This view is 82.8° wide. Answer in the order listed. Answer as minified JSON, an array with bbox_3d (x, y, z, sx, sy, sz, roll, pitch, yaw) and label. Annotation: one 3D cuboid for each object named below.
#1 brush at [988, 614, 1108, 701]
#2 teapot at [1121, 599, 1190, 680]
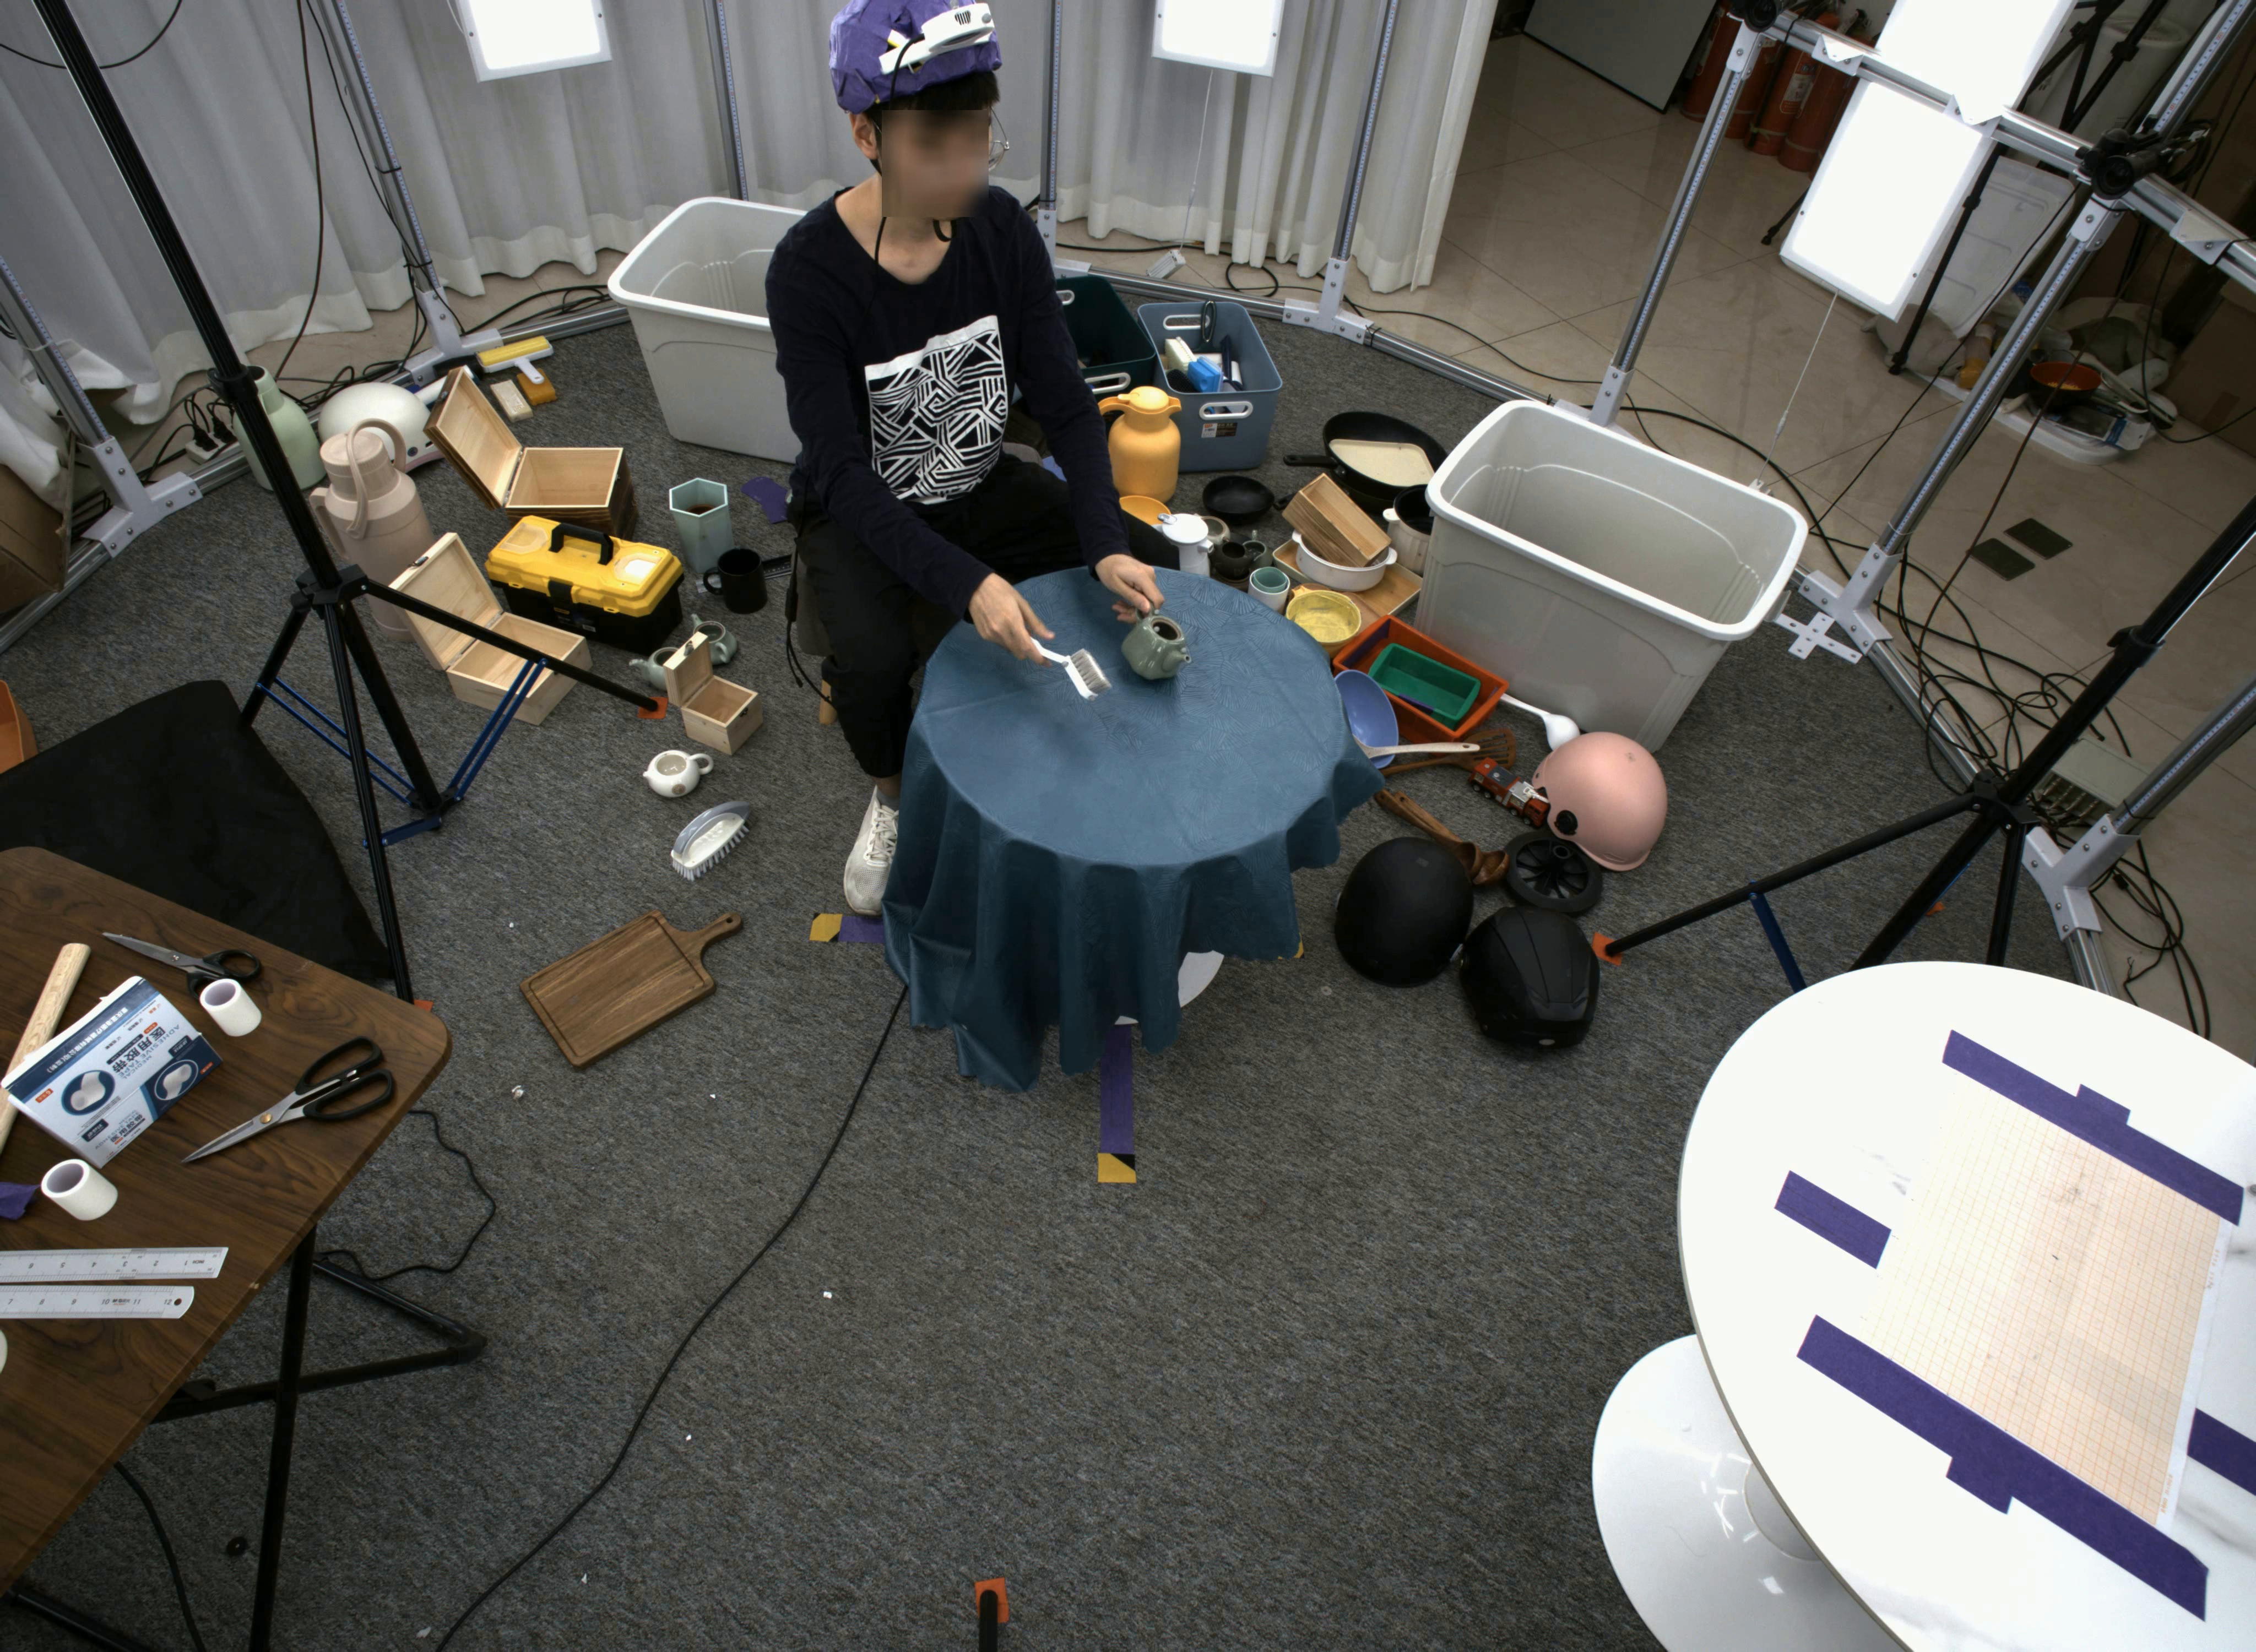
[{"bbox_3d":[-0.113,-0.251,1.781,0.248,0.050,0.034,42,16,35],"label":"brush"},{"bbox_3d":[0.040,-0.259,1.838,0.079,0.074,0.135,-10,55,-37],"label":"teapot"}]
